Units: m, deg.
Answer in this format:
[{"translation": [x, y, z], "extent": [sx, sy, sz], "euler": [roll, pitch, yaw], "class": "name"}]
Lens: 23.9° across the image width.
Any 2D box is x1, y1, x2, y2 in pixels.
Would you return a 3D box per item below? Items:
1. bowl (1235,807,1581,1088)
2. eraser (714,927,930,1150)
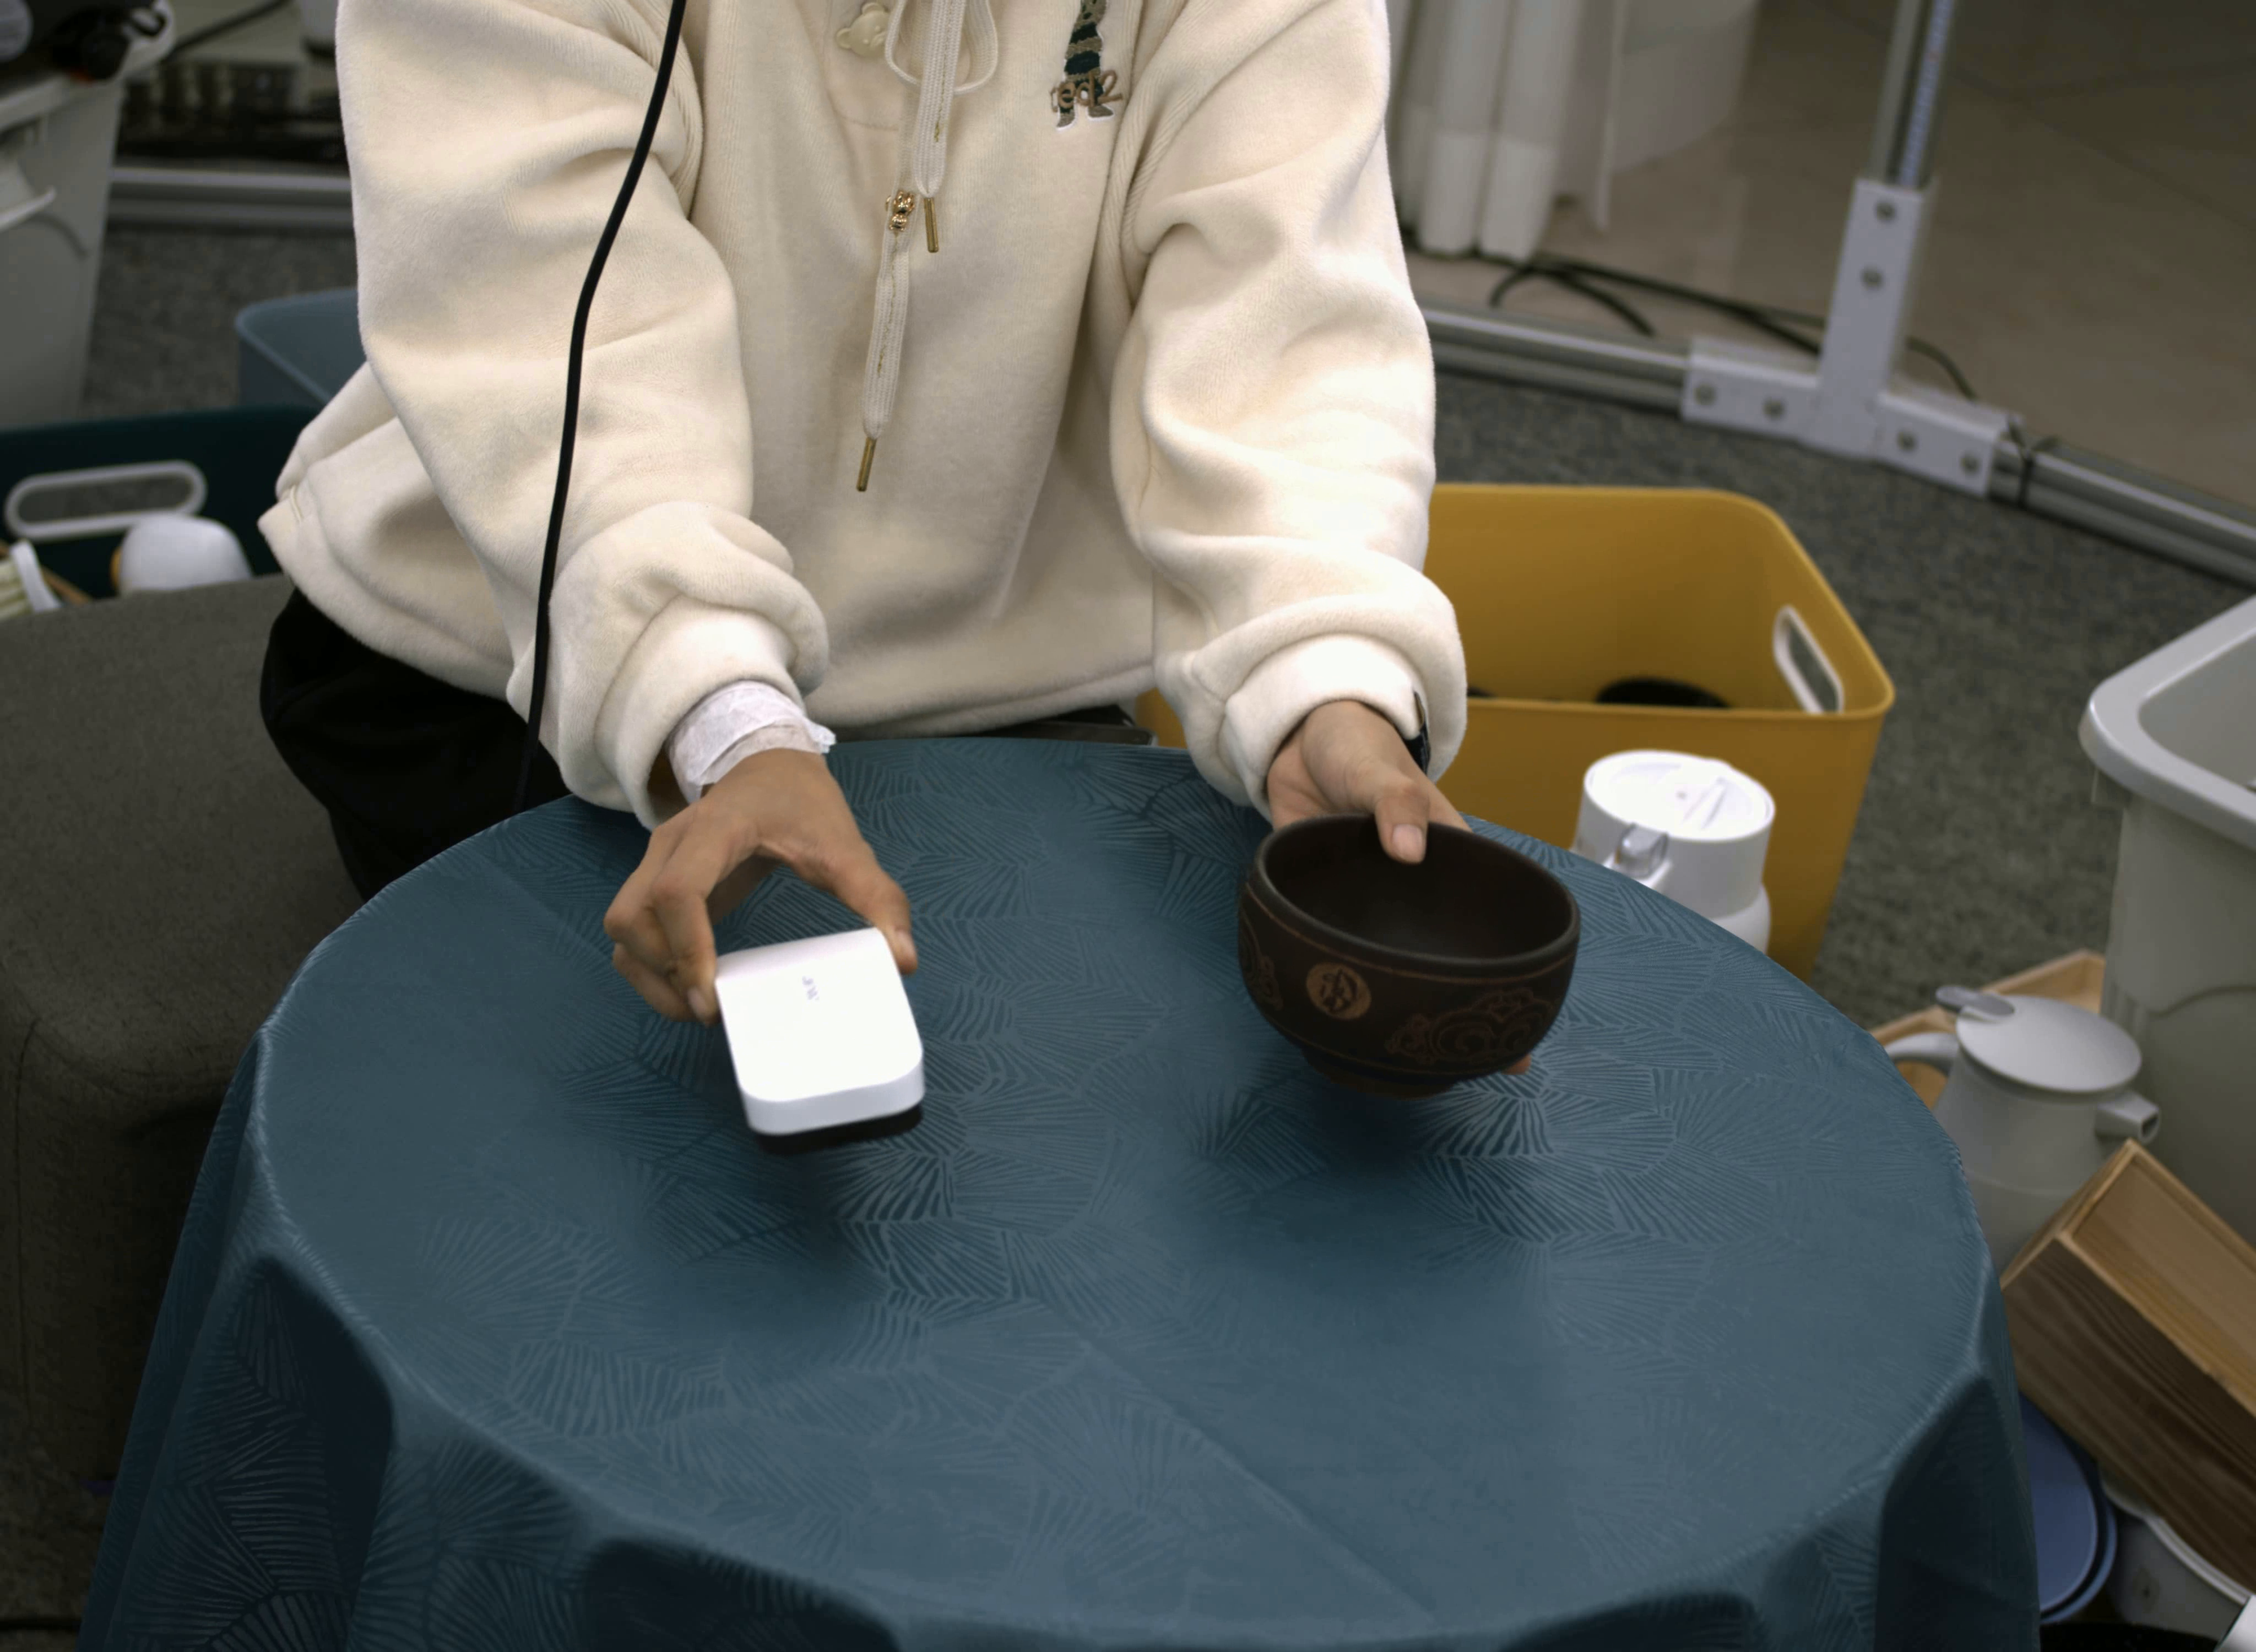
[{"translation": [0.093, 0.048, 1.840], "extent": [0.117, 0.070, 0.118], "euler": [9, 21, -4], "class": "bowl"}, {"translation": [-0.101, 0.067, 1.774], "extent": [0.063, 0.034, 0.132], "euler": [-10, 22, -6], "class": "eraser"}]
